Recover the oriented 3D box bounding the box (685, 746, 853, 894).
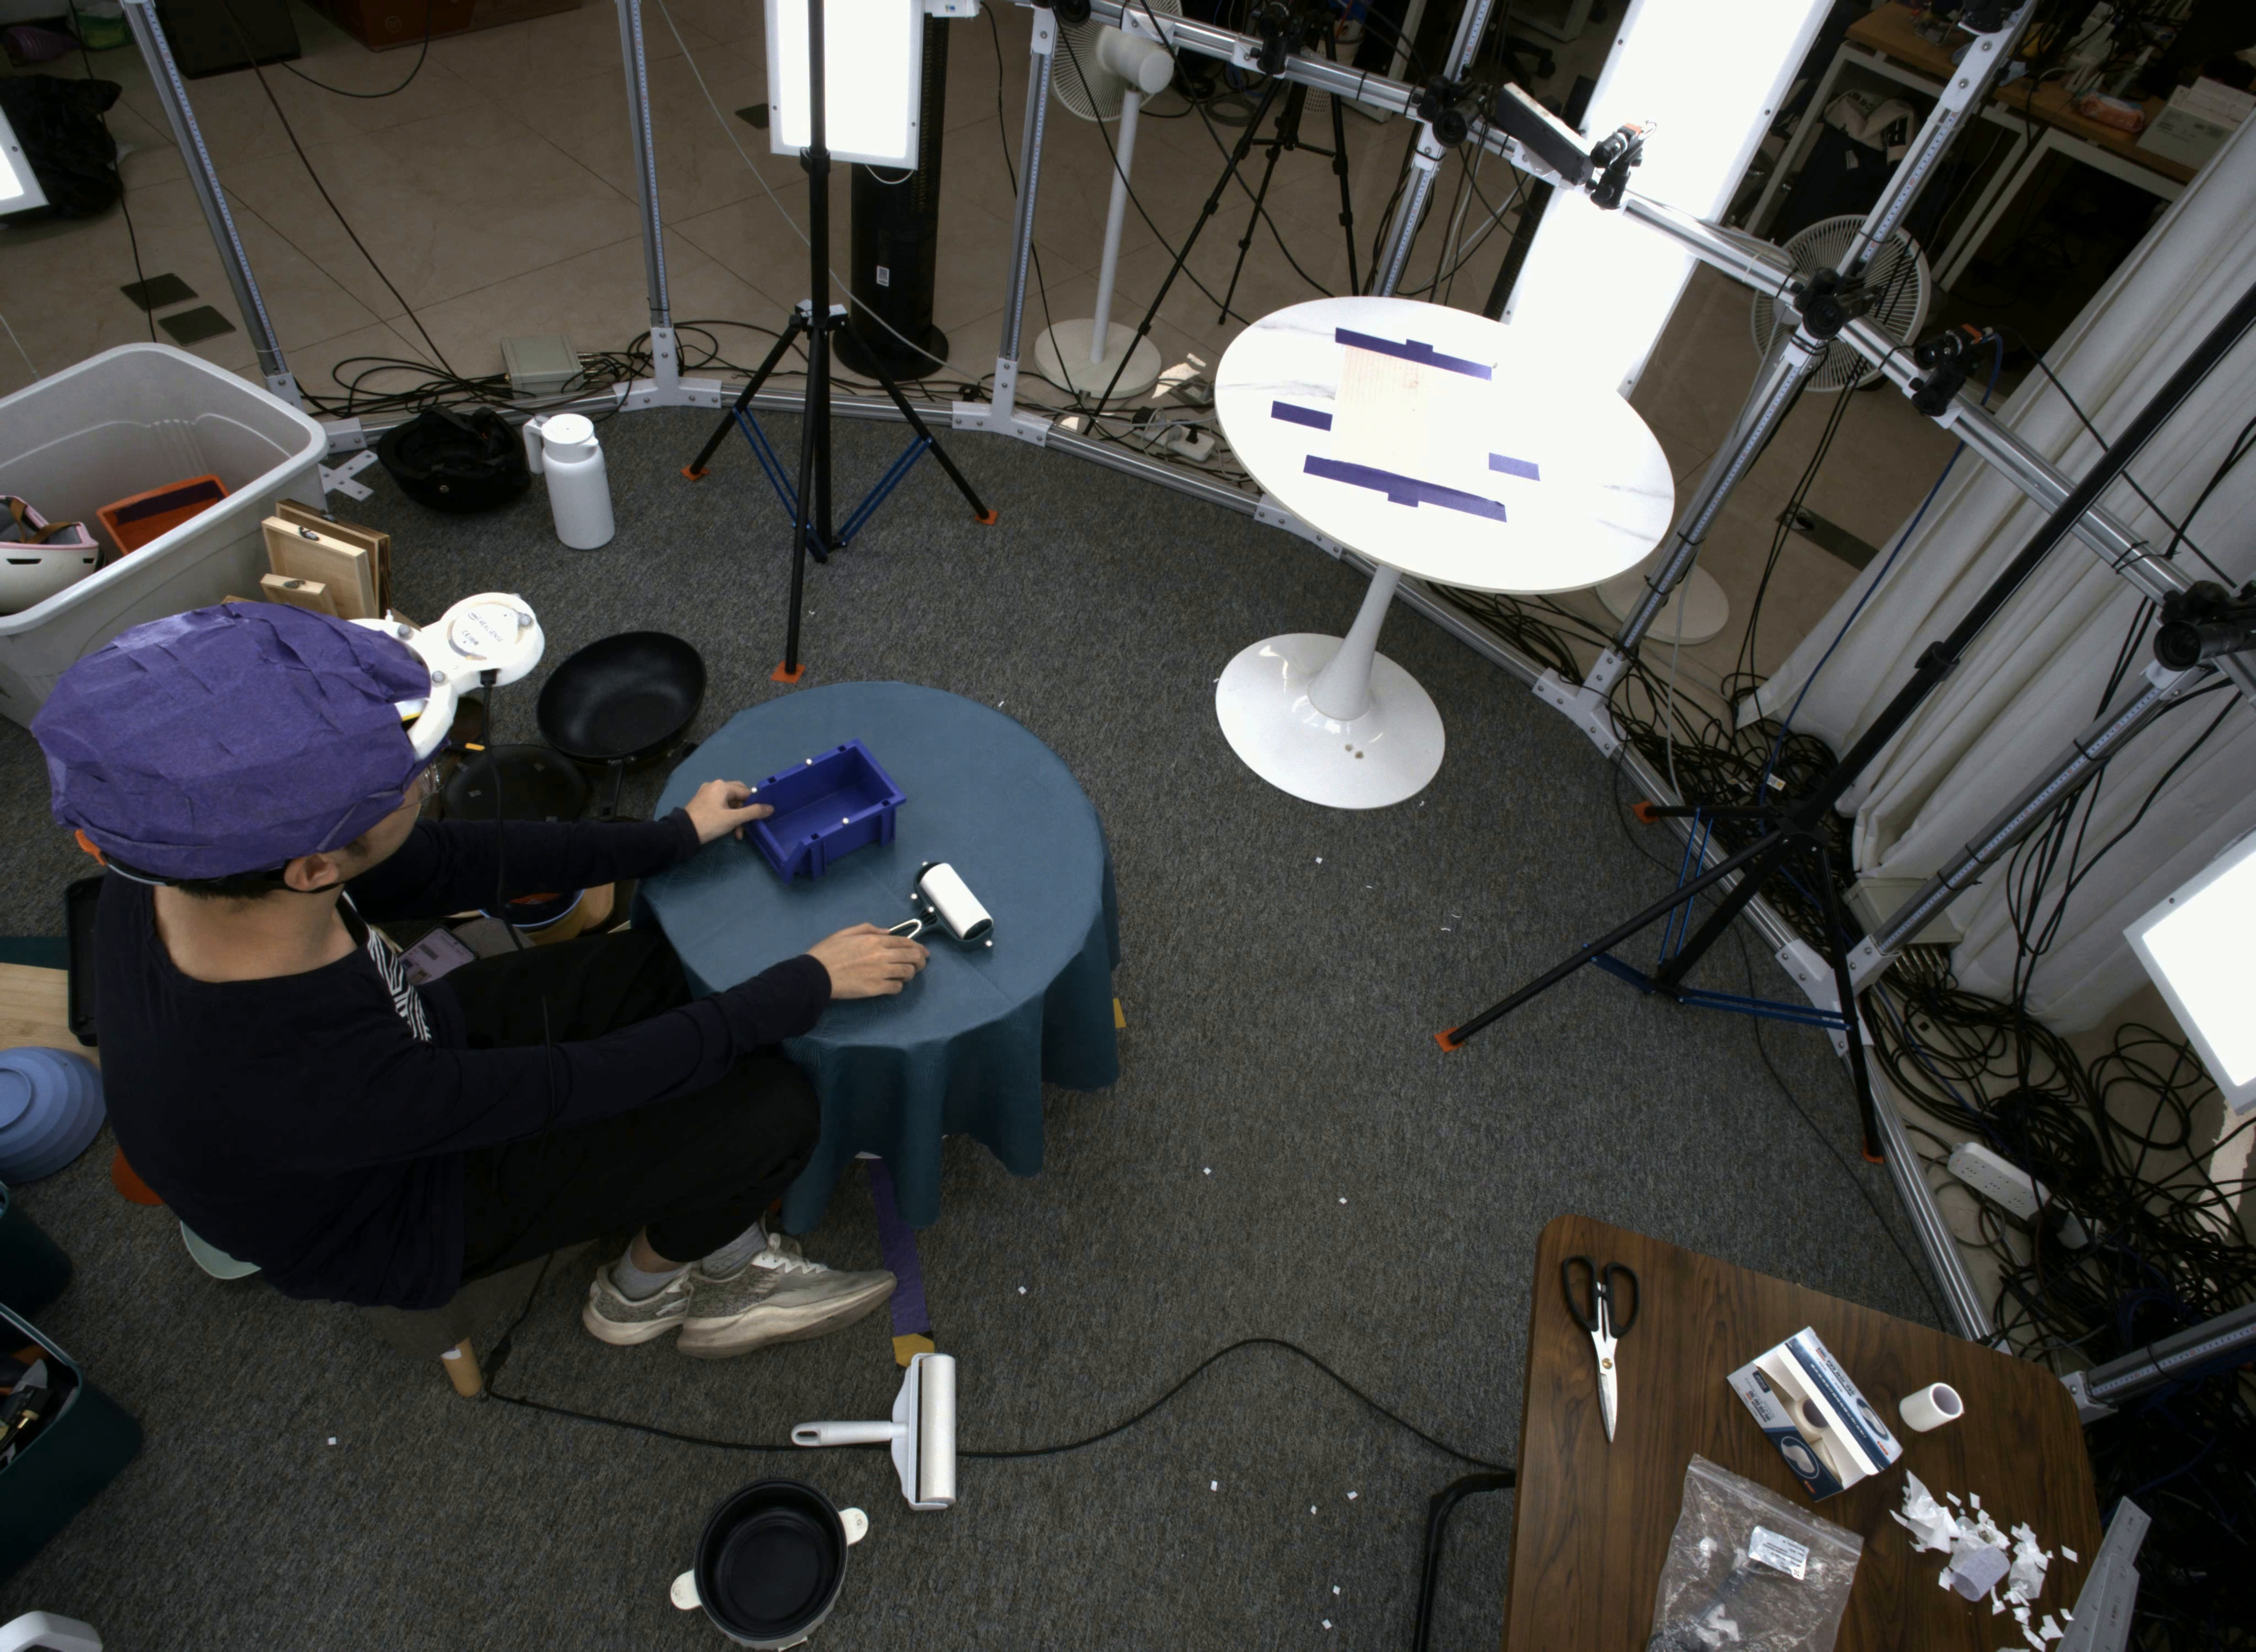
[{"bbox_3d":[-0.464,-0.004,1.676,0.180,0.083,0.121,-29,65,-33],"label":"box"}]

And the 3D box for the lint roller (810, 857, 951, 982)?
[{"bbox_3d":[-0.325,0.131,1.637,0.180,0.049,0.131,-33,67,-28],"label":"lint roller"}]
